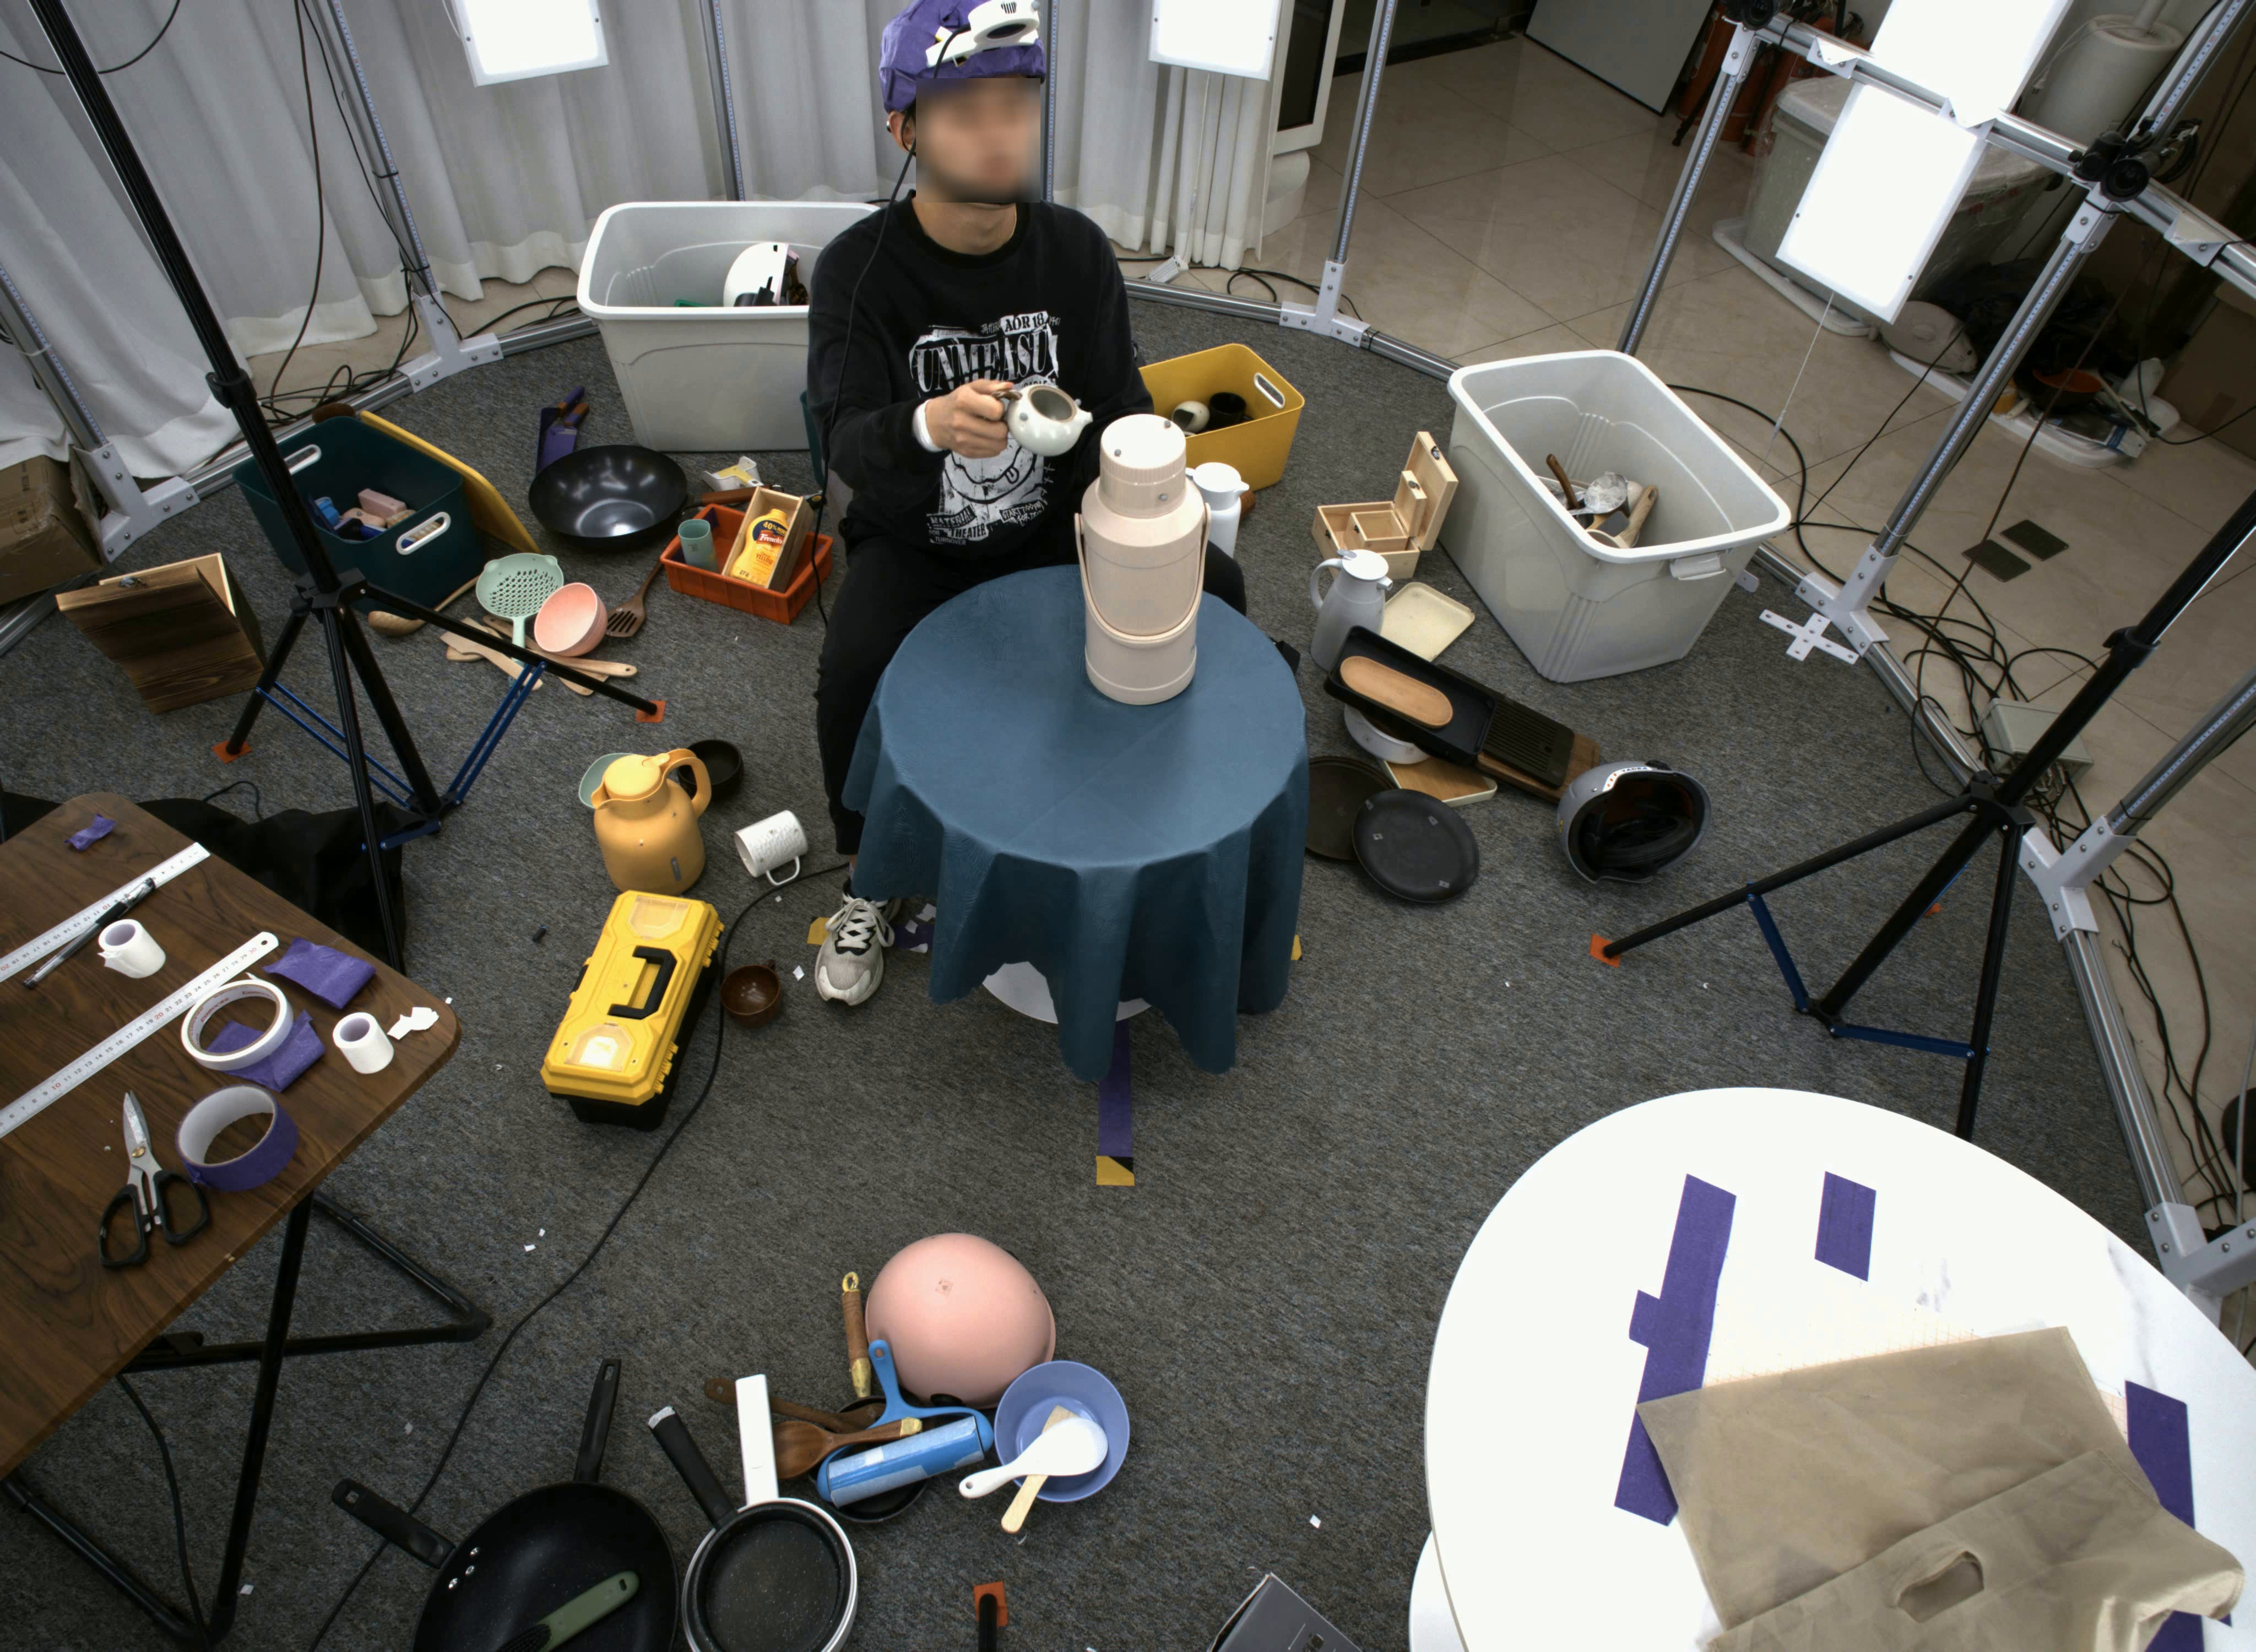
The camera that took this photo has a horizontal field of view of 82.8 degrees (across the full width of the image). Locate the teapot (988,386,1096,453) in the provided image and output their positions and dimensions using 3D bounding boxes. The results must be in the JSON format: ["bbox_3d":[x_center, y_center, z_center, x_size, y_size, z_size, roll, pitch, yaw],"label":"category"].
[{"bbox_3d":[-0.101,-0.479,1.526,0.128,0.058,0.094,5,40,3],"label":"teapot"}]

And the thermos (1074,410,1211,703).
[{"bbox_3d":[0.019,-0.364,1.722,0.175,0.396,0.212,-7,54,-3],"label":"thermos"}]
